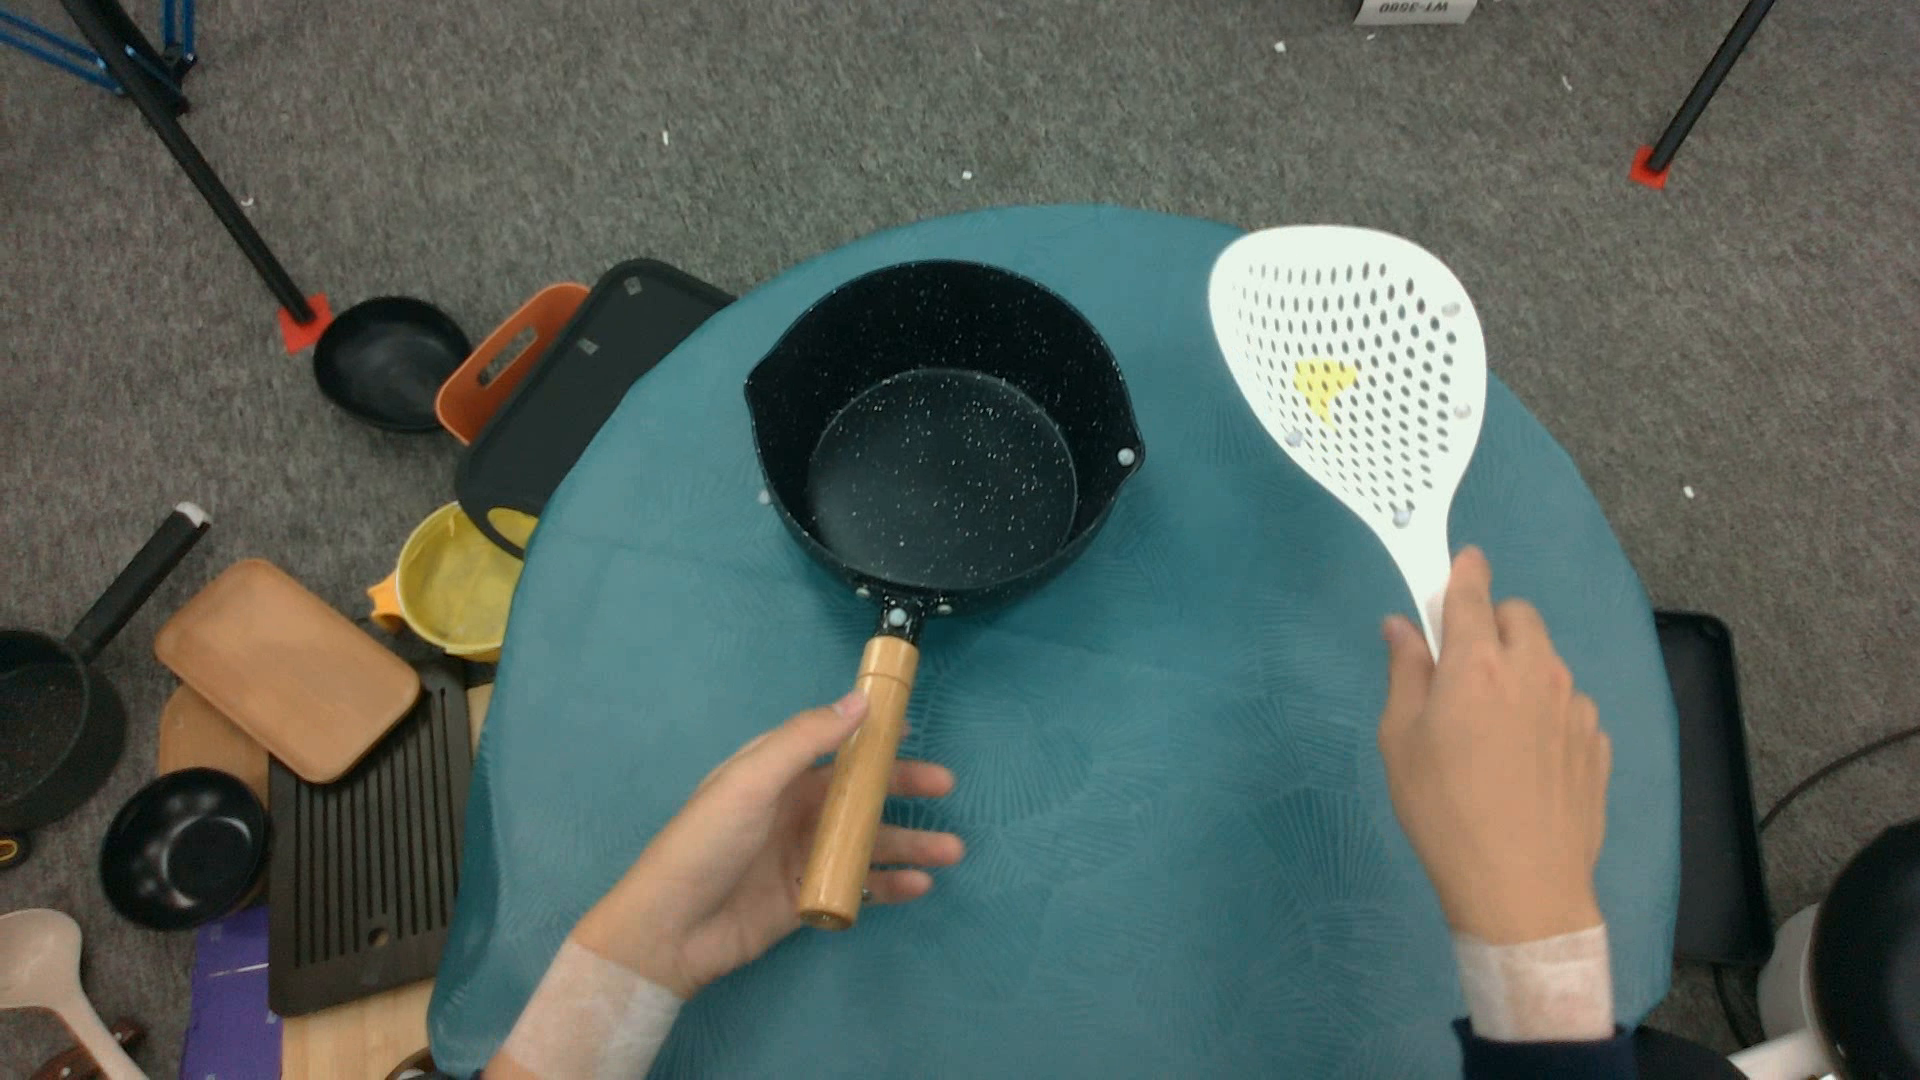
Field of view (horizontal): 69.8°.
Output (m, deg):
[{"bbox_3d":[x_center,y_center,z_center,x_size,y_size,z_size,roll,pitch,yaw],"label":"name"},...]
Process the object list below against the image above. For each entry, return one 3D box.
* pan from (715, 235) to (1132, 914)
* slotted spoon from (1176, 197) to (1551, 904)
[{"bbox_3d":[-0.031,0.014,0.663,0.207,0.108,0.344,10,66,1],"label":"pan"},{"bbox_3d":[0.189,-0.014,0.612,0.137,0.050,0.349,-5,57,-13],"label":"slotted spoon"}]
